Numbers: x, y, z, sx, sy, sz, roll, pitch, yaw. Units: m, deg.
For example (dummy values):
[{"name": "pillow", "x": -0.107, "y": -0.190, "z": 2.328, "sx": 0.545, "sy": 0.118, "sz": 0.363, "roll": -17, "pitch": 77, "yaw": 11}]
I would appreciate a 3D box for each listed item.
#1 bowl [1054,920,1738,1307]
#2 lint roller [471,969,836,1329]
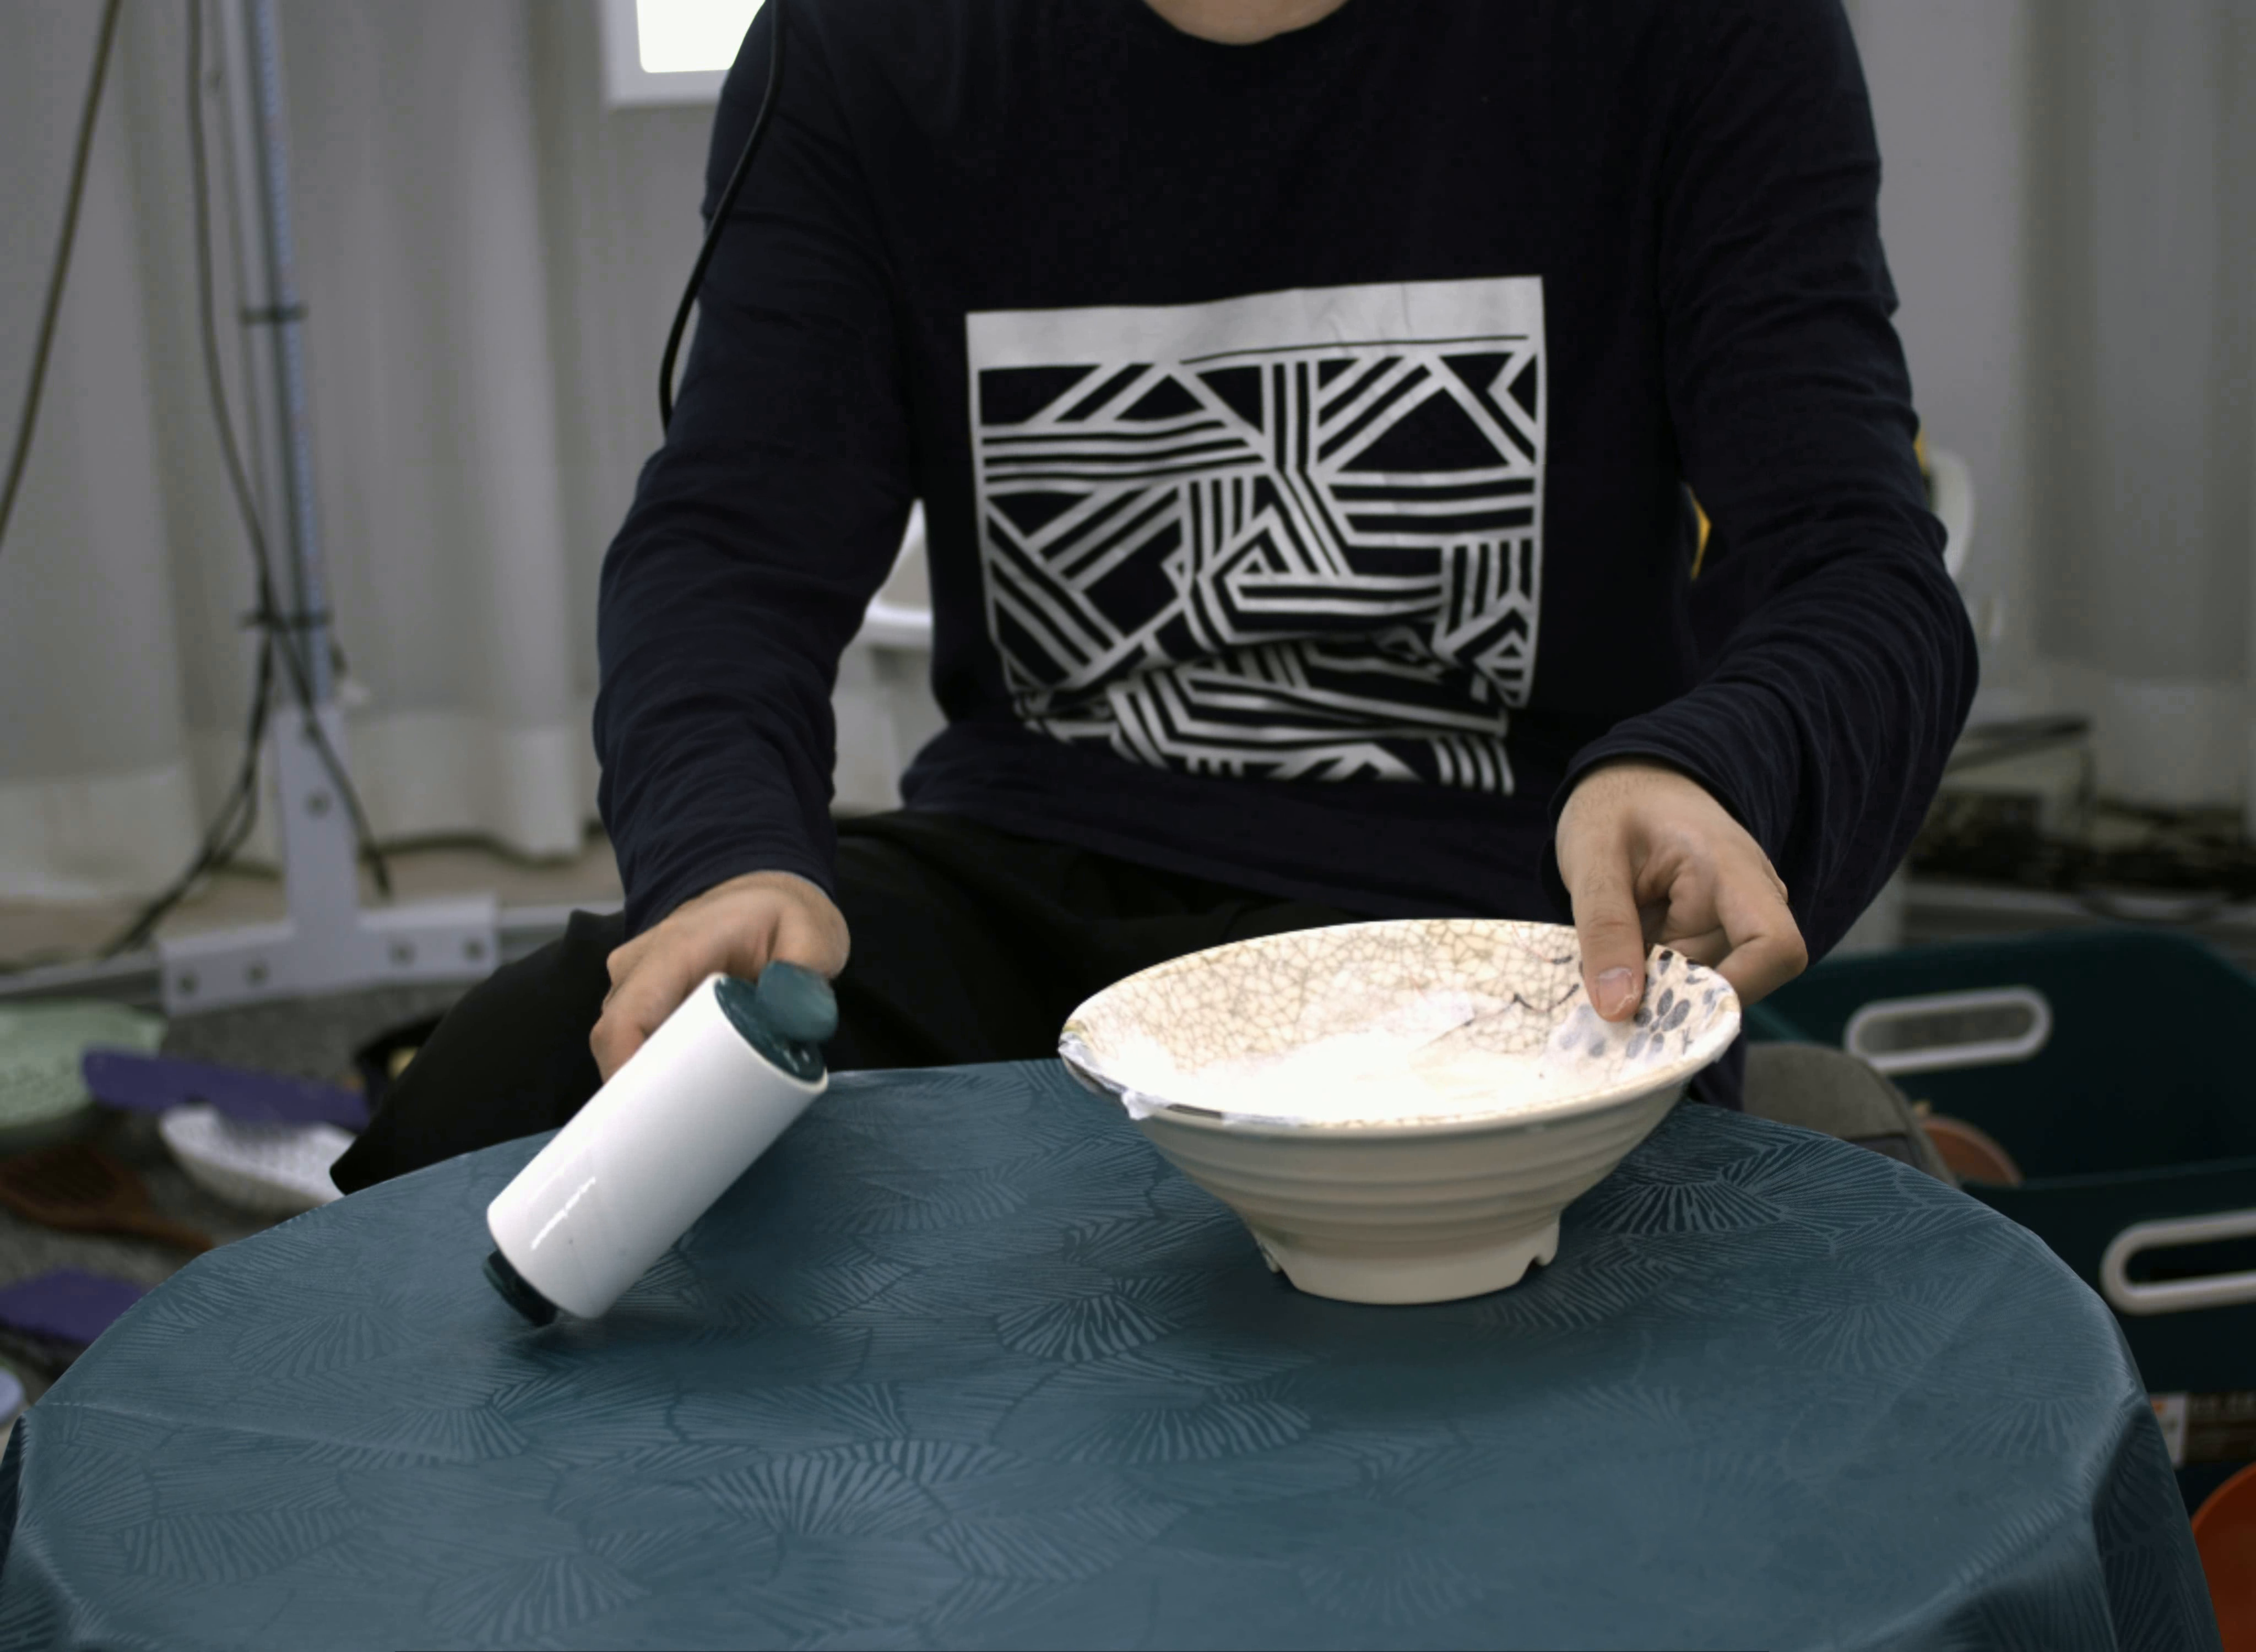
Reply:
[{"name": "bowl", "x": 0.081, "y": 0.093, "z": 1.632, "sx": 0.203, "sy": 0.077, "sz": 0.205, "roll": -3, "pitch": 14, "yaw": 0}, {"name": "lint roller", "x": -0.135, "y": 0.077, "z": 1.663, "sx": 0.134, "sy": 0.048, "sz": 0.181, "roll": -44, "pitch": 9, "yaw": 13}]
